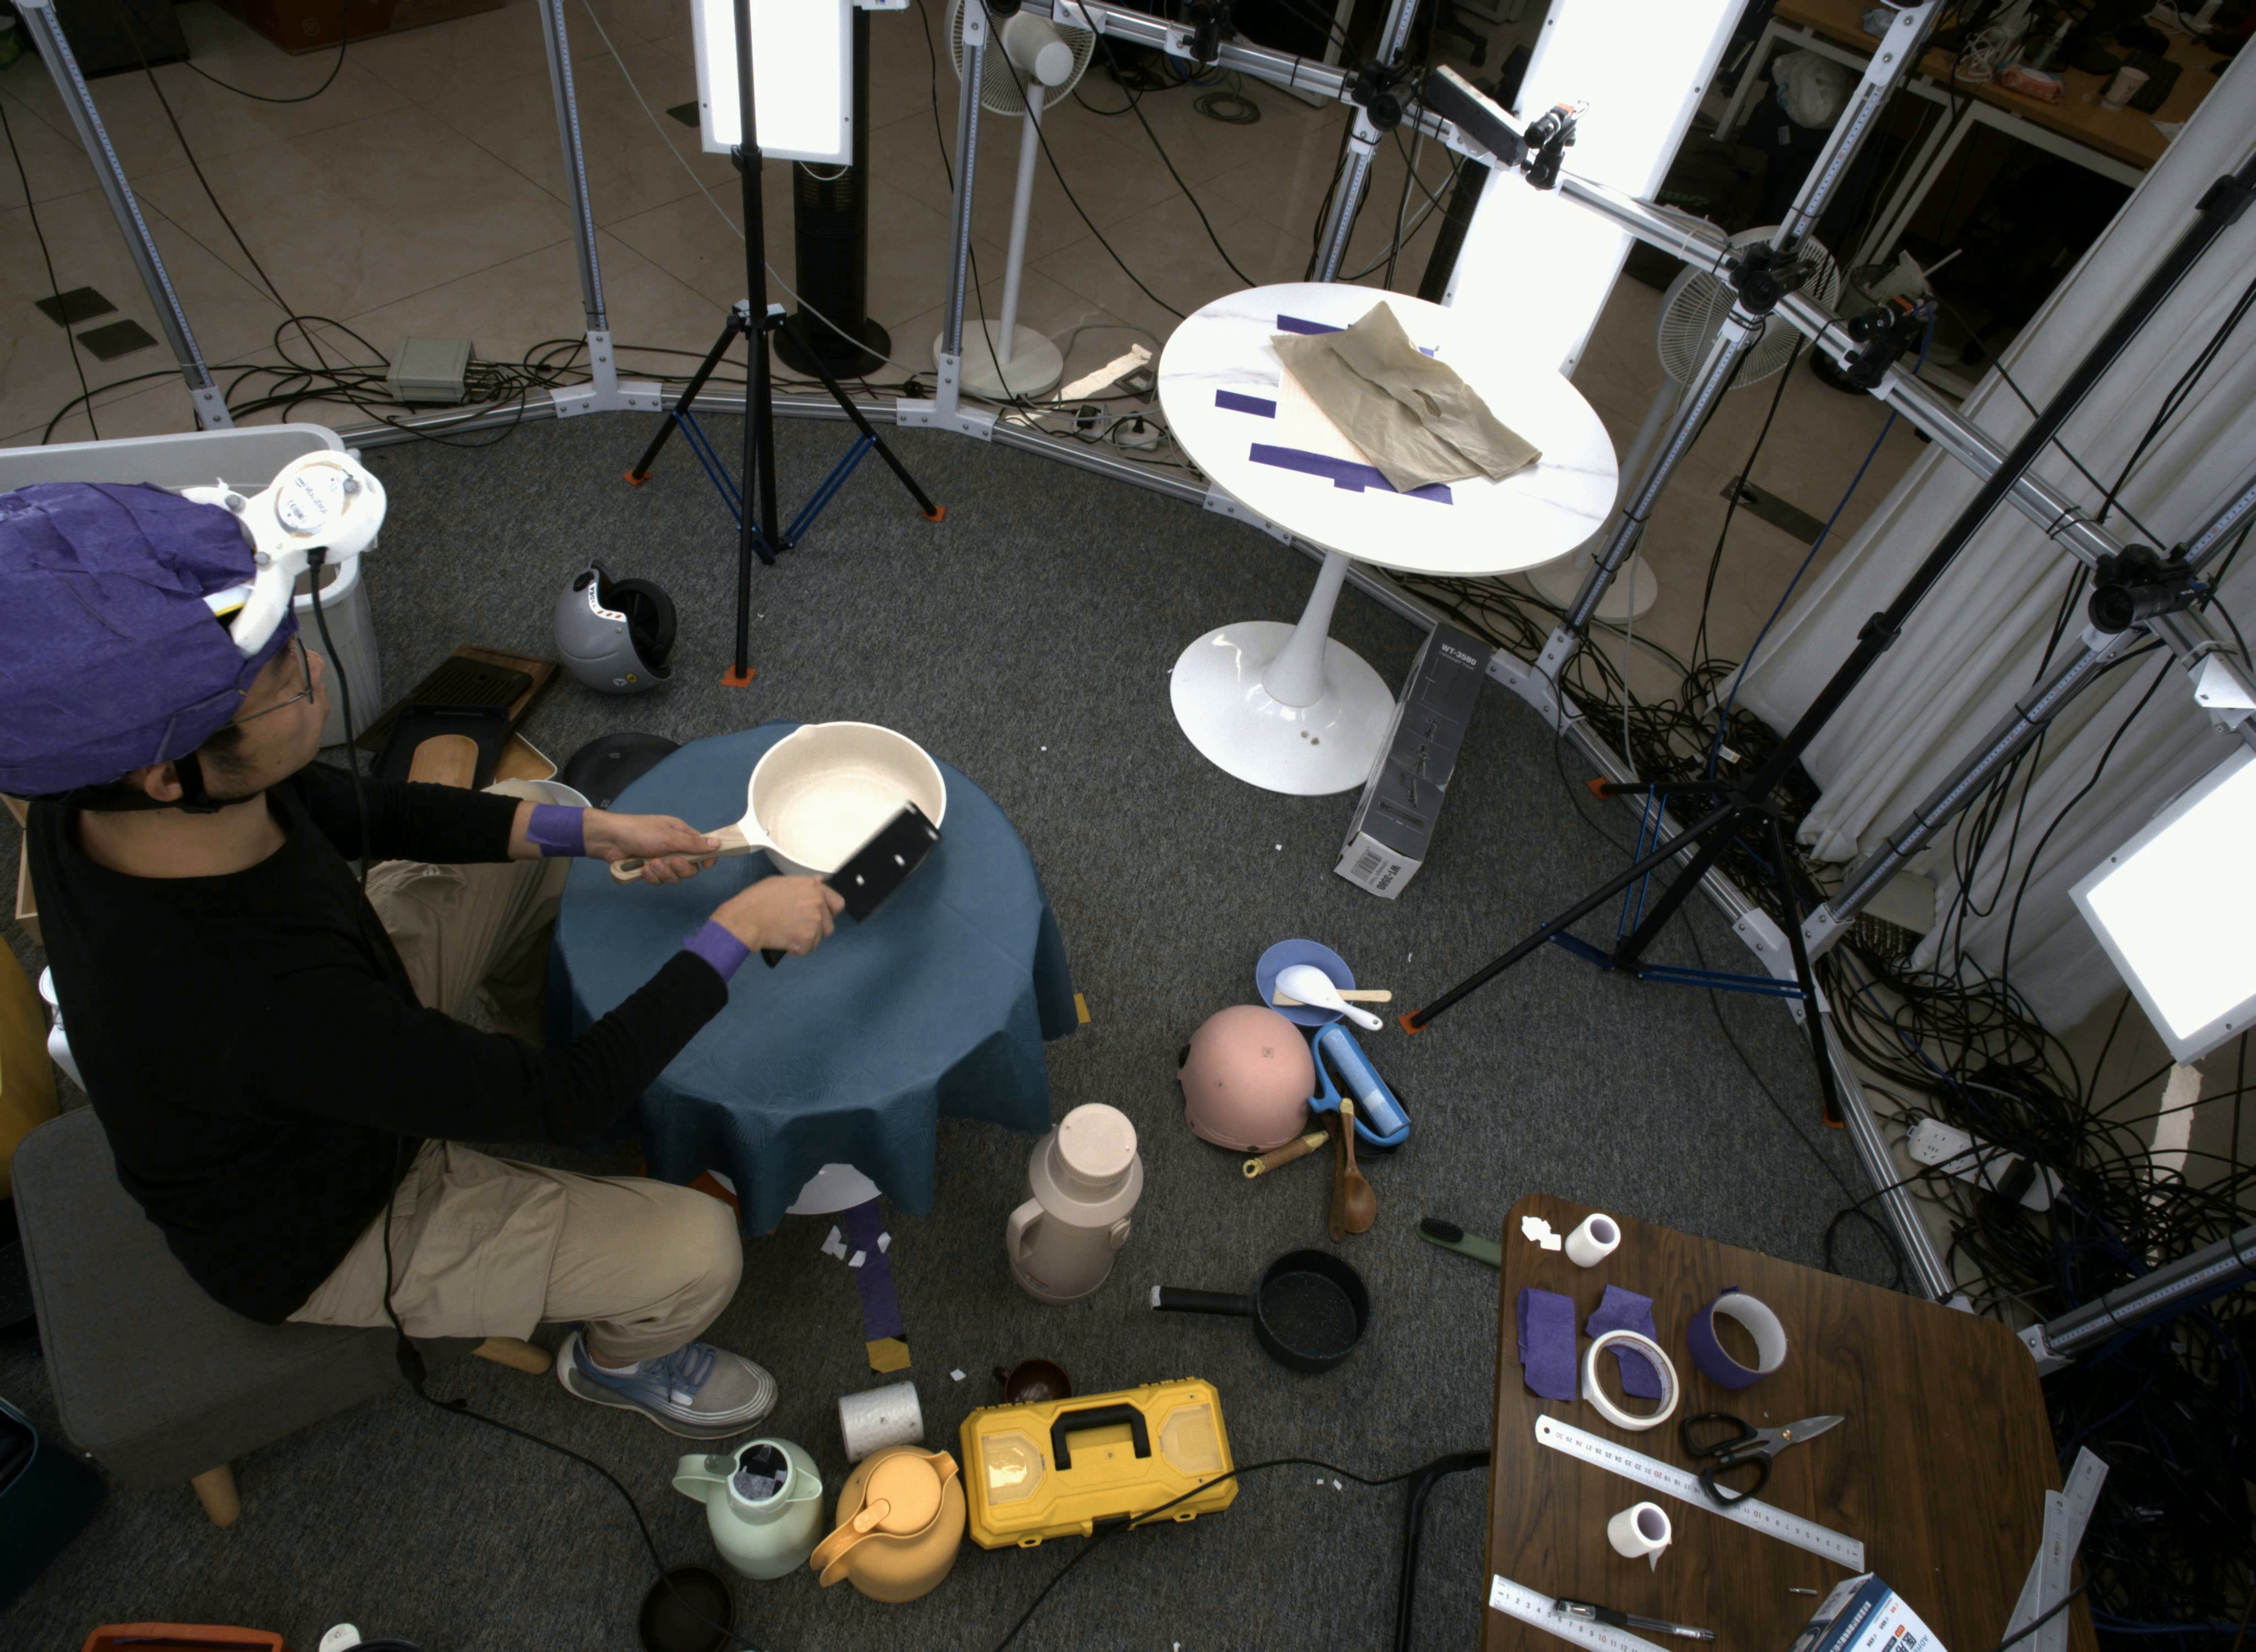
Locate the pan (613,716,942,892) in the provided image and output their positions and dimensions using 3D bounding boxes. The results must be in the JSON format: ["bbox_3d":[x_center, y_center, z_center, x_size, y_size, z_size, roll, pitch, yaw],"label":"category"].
[{"bbox_3d":[-0.443,0.007,1.647,0.437,0.104,0.257,-25,64,-29],"label":"pan"}]

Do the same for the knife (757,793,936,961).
[{"bbox_3d":[-0.323,0.060,1.505,0.082,0.020,0.302,53,42,-8],"label":"knife"}]
